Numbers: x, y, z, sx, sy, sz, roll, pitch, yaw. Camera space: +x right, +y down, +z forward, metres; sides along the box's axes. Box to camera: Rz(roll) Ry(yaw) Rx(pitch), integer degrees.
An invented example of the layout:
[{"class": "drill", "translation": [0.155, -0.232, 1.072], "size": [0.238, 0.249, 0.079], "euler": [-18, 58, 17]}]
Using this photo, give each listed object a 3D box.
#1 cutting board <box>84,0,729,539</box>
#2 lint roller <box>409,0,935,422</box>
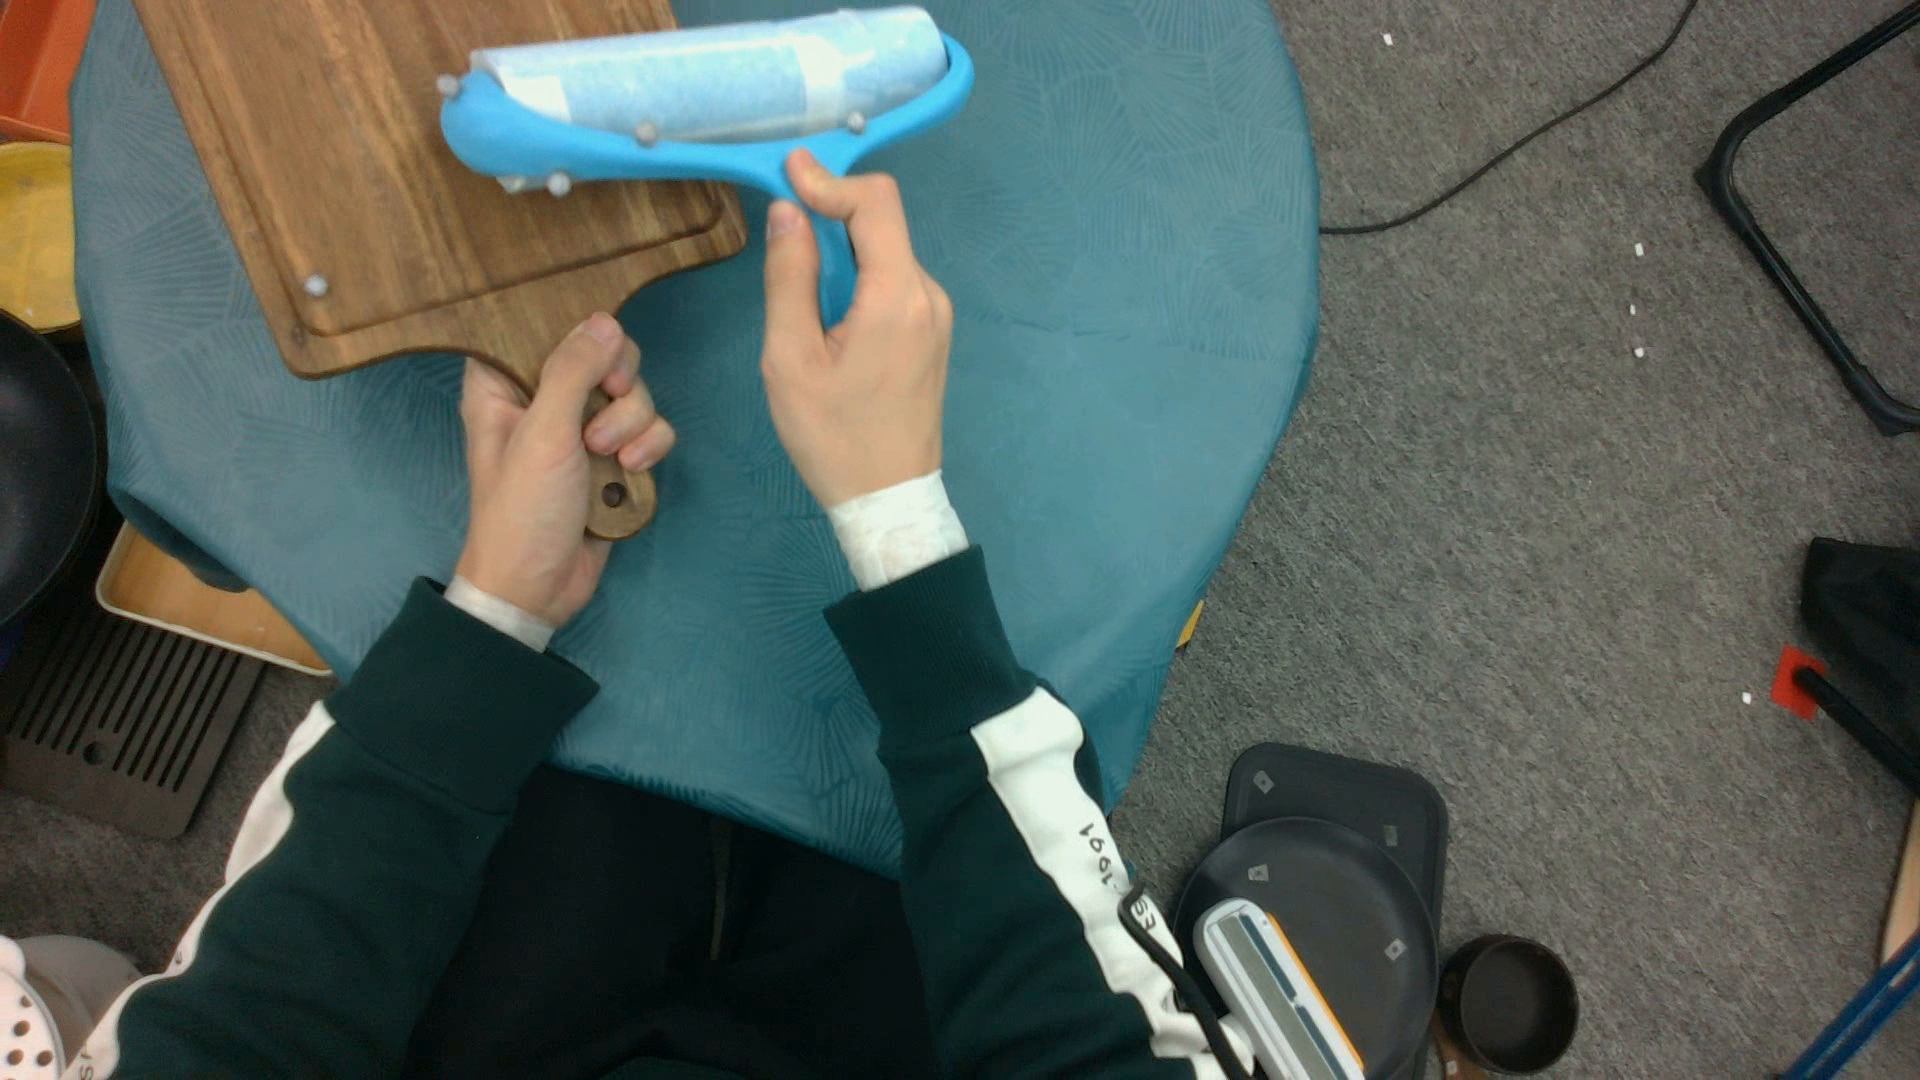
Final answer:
[{"class": "cutting board", "translation": [-0.210, -0.162, 0.561], "size": [0.202, 0.023, 0.351], "euler": [-26, 102, -25]}, {"class": "lint roller", "translation": [-0.083, -0.139, 0.563], "size": [0.230, 0.067, 0.180], "euler": [-25, 79, -33]}]
